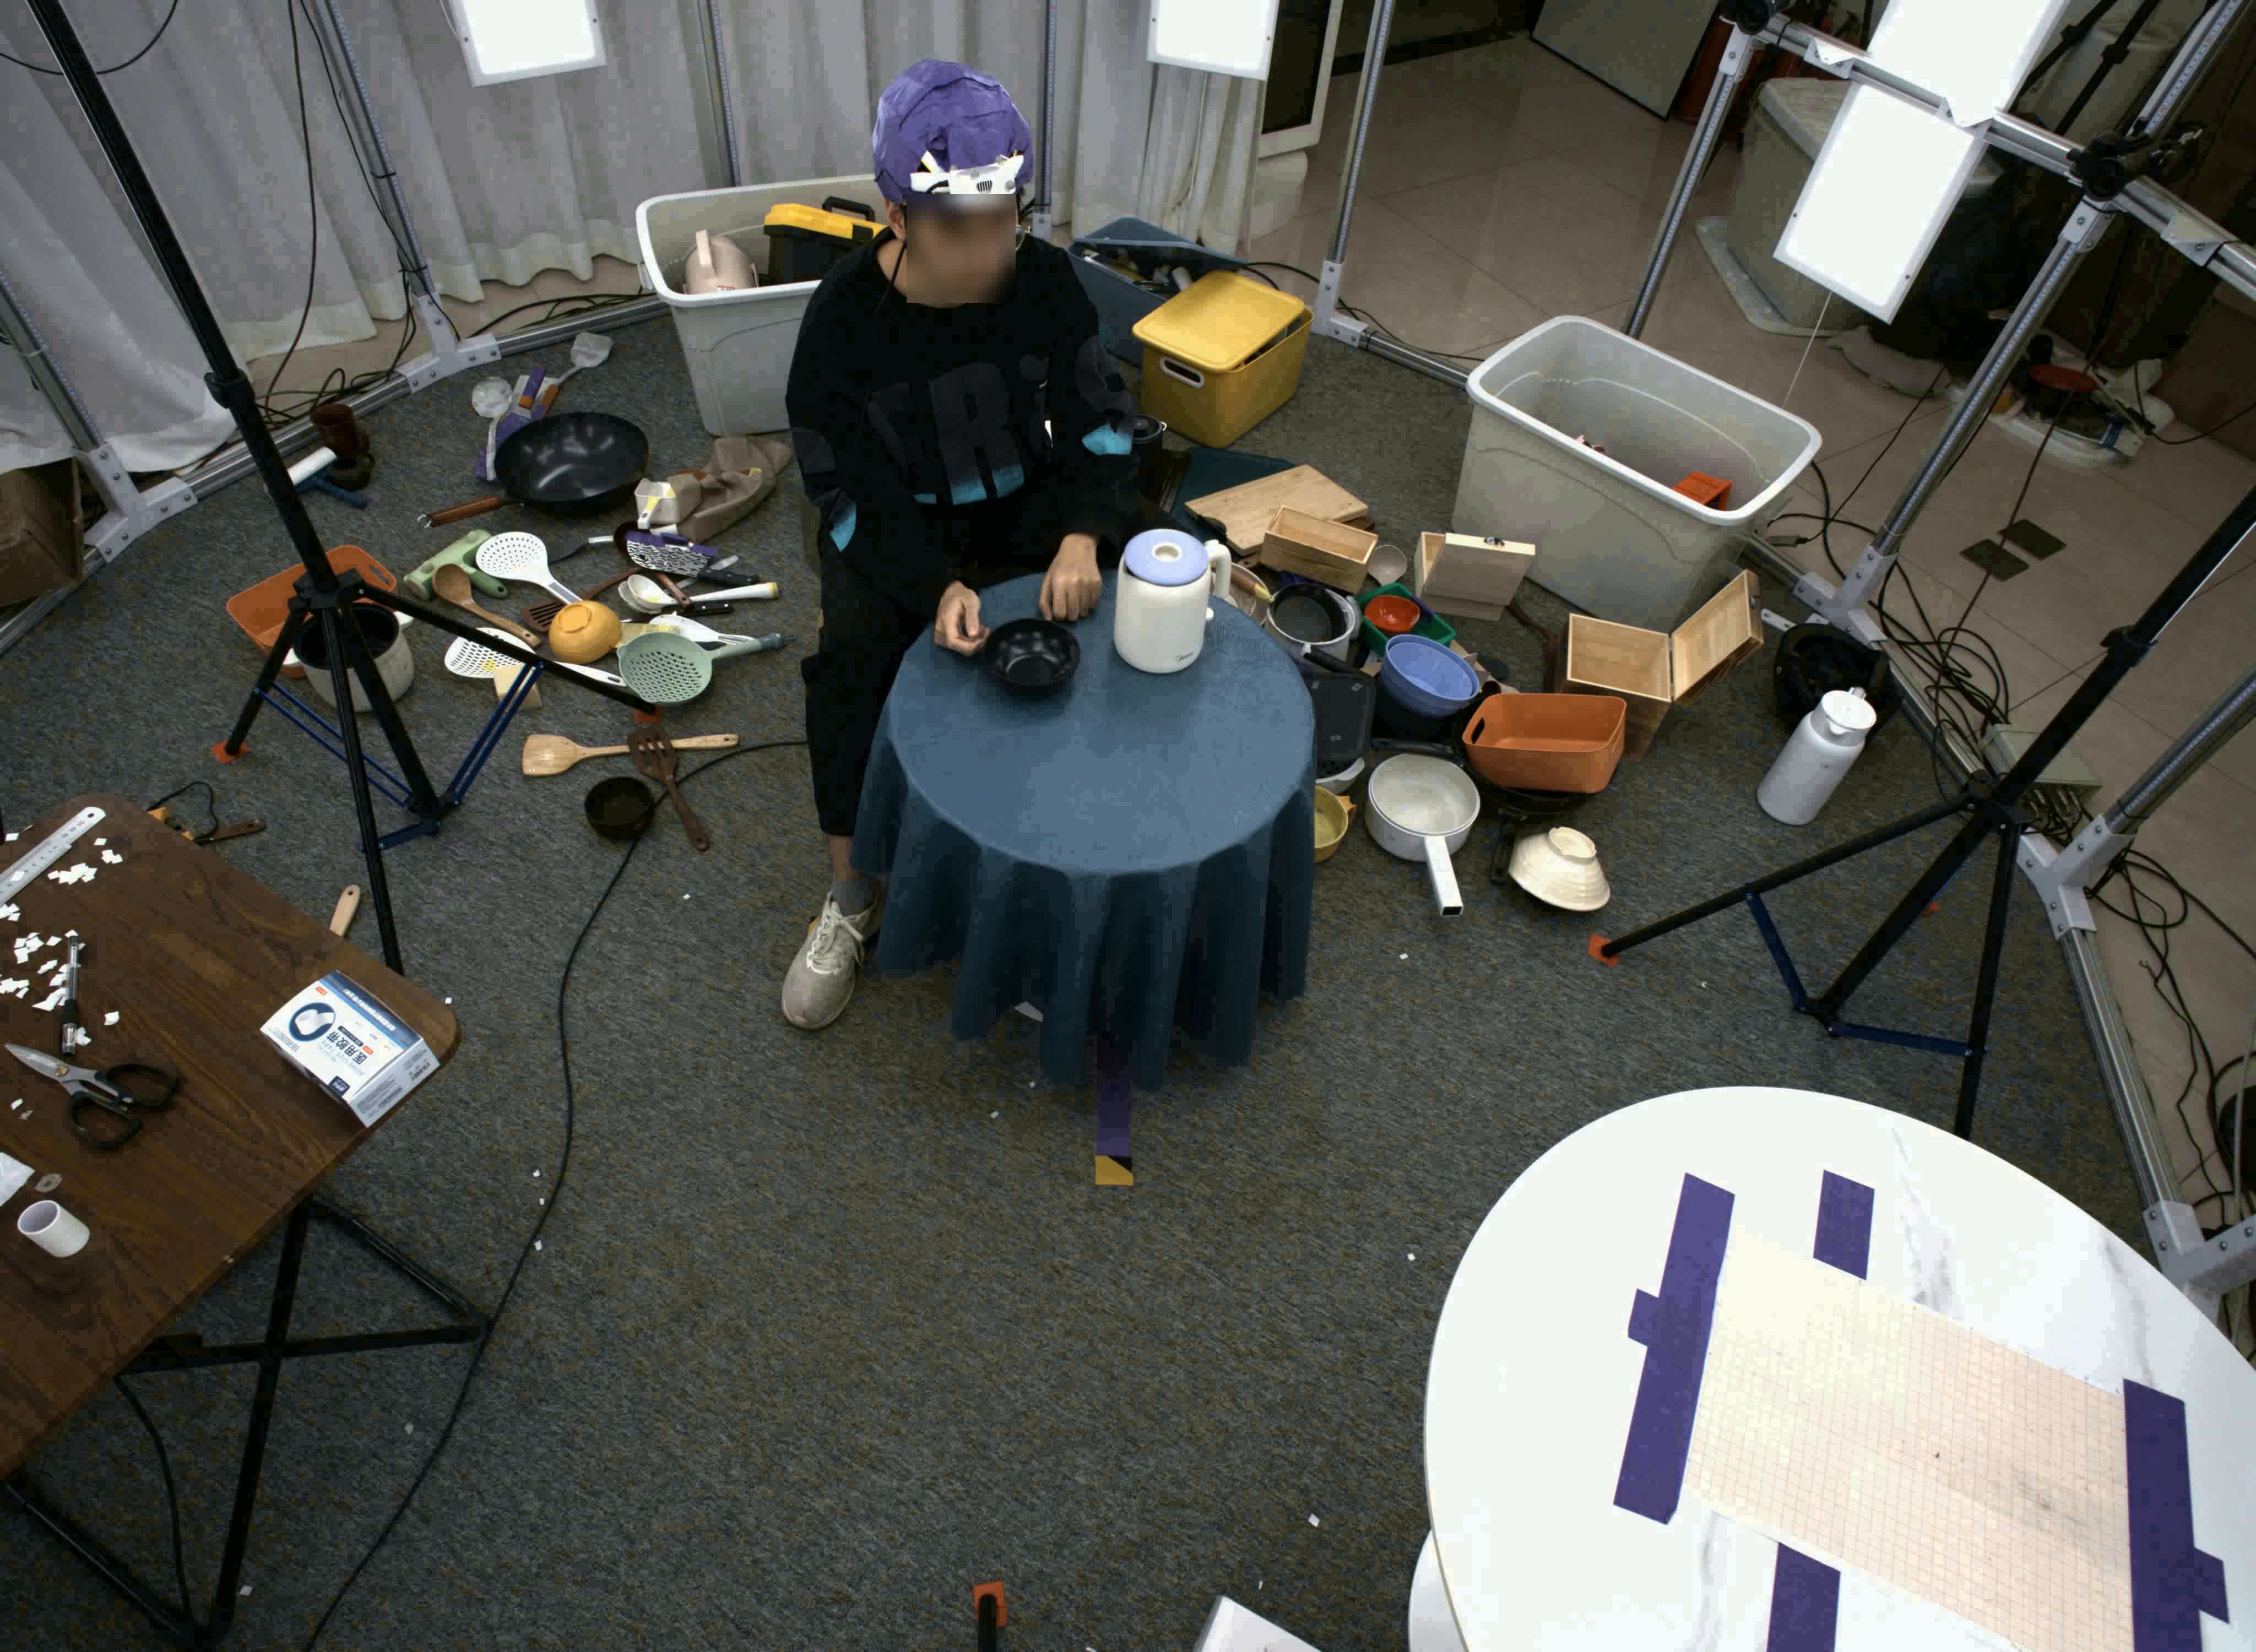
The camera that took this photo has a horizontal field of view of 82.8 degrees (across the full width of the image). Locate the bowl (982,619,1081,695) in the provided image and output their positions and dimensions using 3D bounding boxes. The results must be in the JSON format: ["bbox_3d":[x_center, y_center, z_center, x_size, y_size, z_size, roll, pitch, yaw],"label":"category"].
[{"bbox_3d":[-0.136,-0.232,1.829,0.140,0.048,0.143,1,47,-2],"label":"bowl"}]

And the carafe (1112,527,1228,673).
[{"bbox_3d":[0.067,-0.332,1.850,0.192,0.178,0.135,-25,57,-26],"label":"carafe"}]
